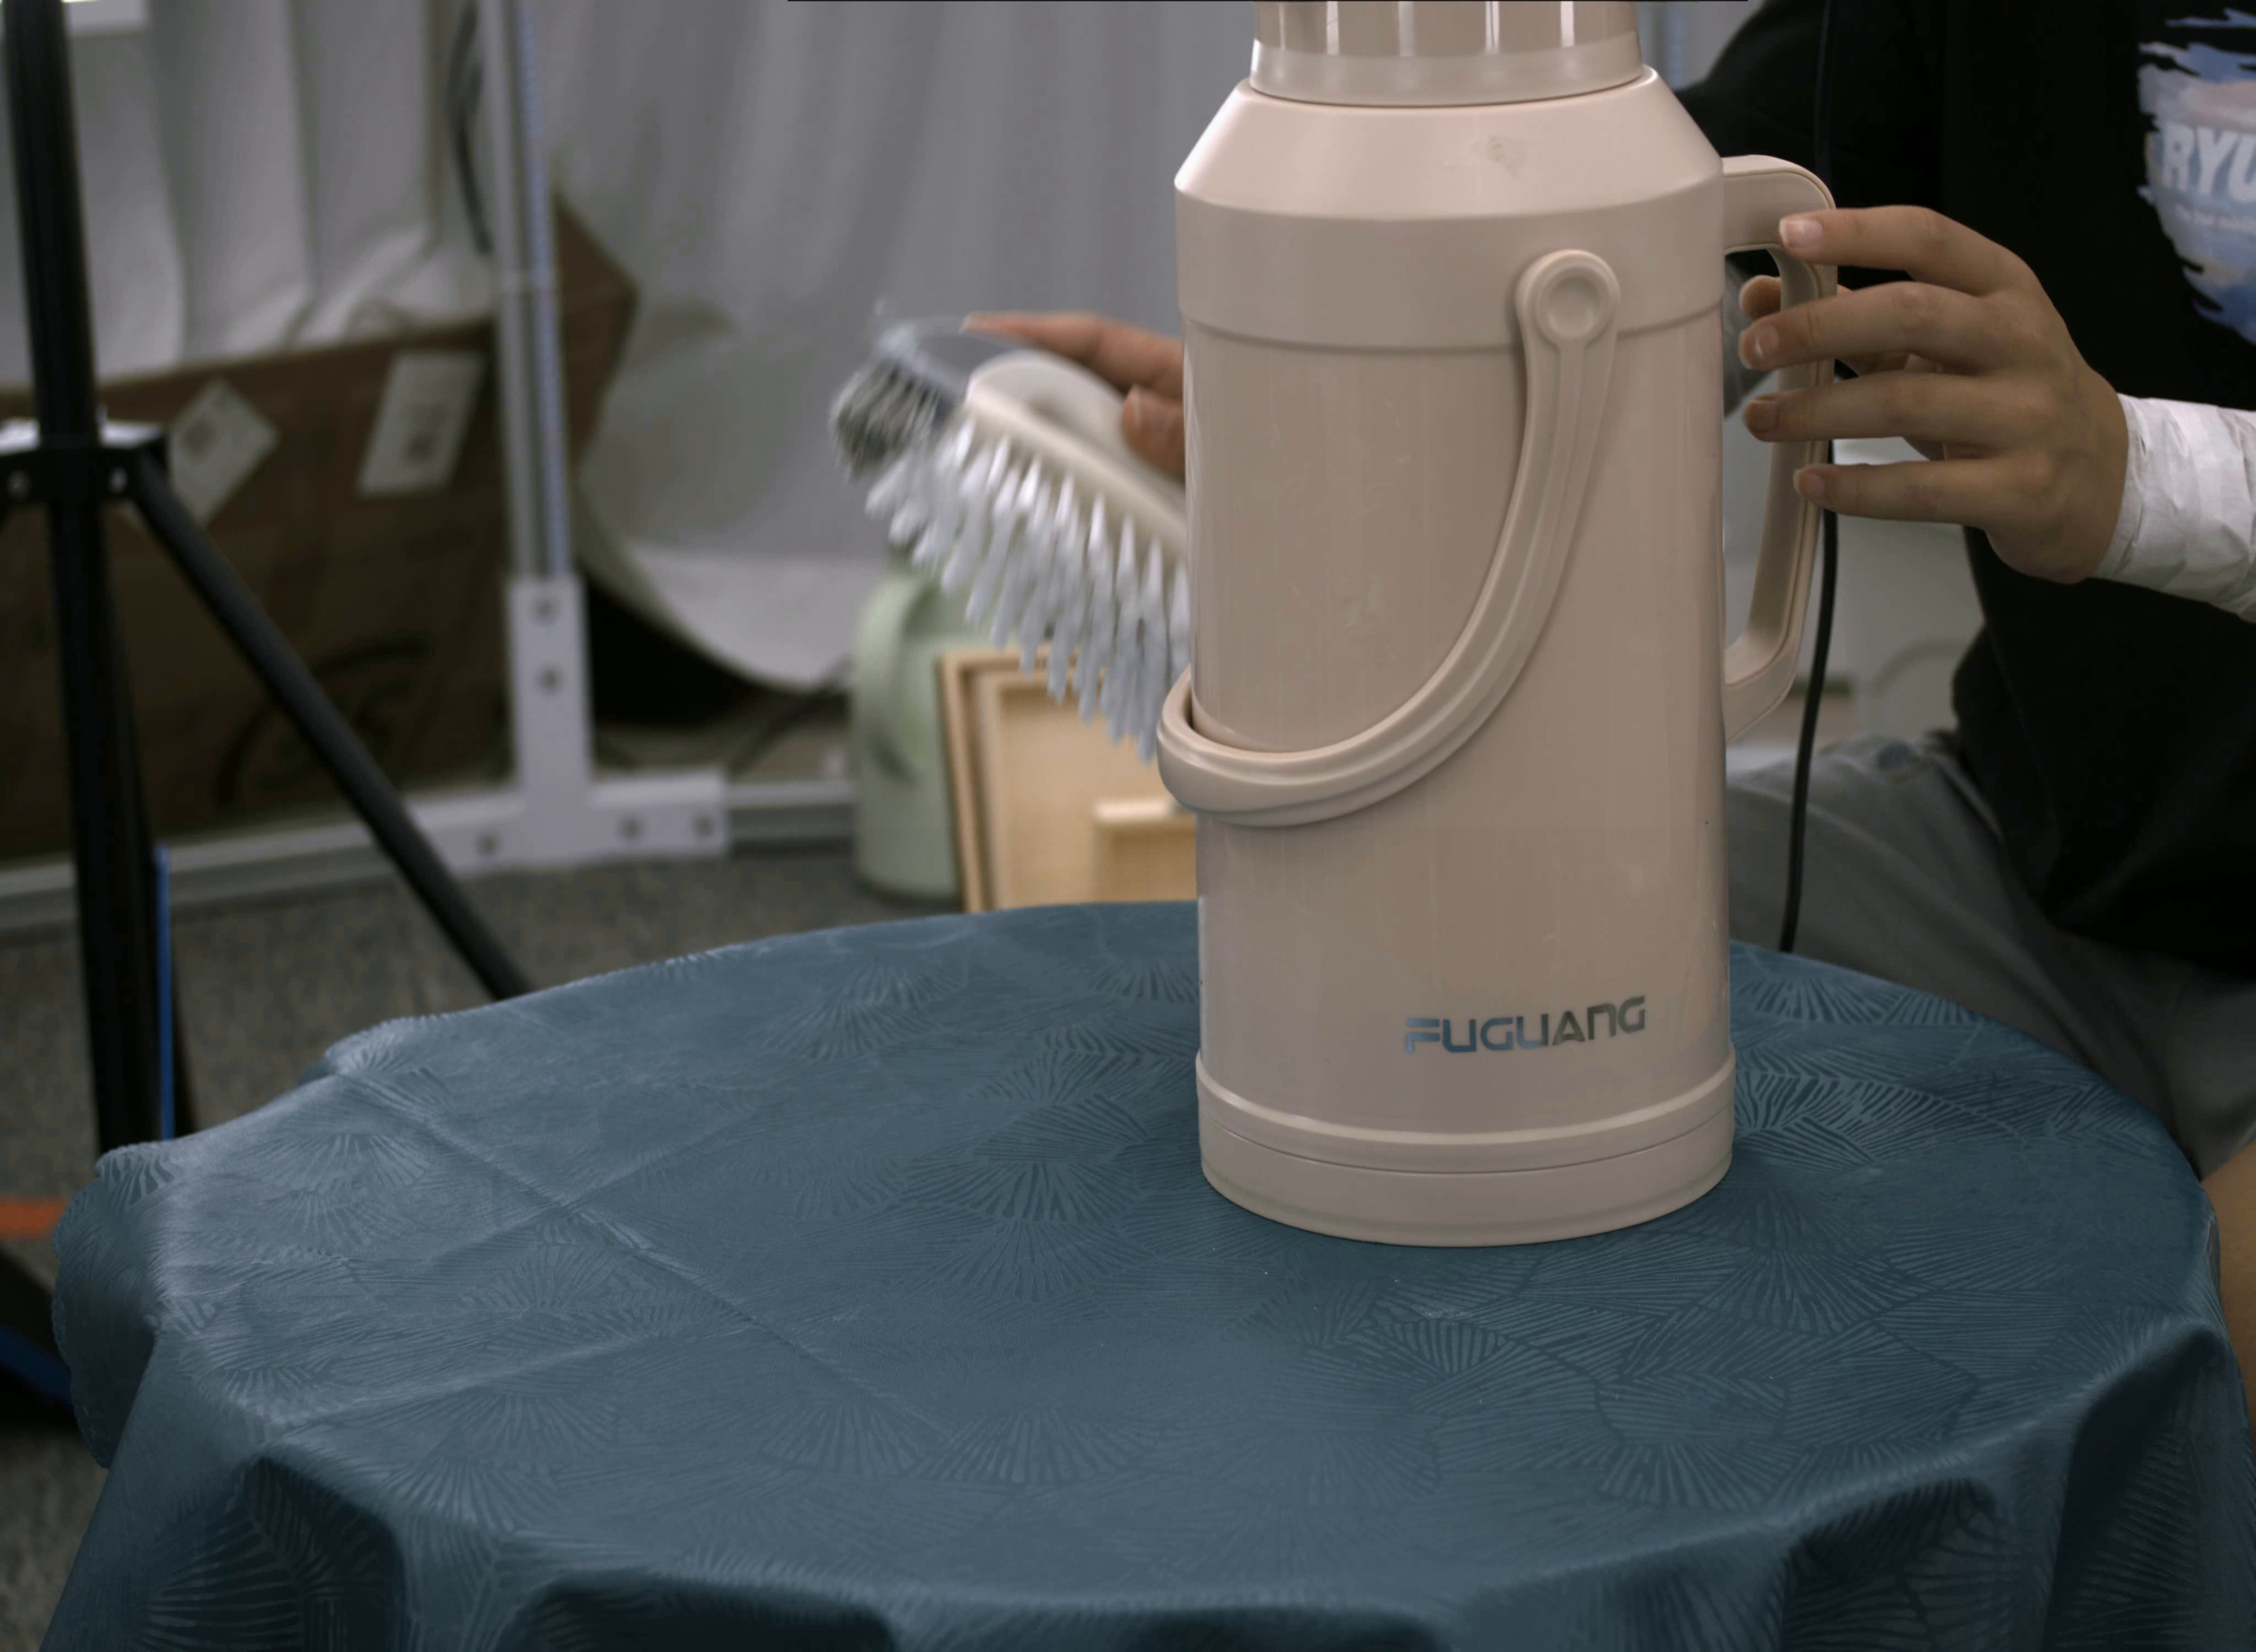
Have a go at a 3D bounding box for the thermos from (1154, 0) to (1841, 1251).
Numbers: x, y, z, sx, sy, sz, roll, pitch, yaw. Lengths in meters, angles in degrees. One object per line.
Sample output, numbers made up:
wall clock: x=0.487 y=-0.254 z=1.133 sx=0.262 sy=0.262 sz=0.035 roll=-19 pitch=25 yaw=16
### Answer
thermos: x=0.108 y=-0.093 z=1.528 sx=0.203 sy=0.406 sz=0.178 roll=-6 pitch=14 yaw=-17

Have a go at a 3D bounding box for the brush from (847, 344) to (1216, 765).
brush: x=-0.024 y=-0.102 z=1.660 sx=0.062 sy=0.171 sz=0.095 roll=-29 pitch=40 yaw=33
